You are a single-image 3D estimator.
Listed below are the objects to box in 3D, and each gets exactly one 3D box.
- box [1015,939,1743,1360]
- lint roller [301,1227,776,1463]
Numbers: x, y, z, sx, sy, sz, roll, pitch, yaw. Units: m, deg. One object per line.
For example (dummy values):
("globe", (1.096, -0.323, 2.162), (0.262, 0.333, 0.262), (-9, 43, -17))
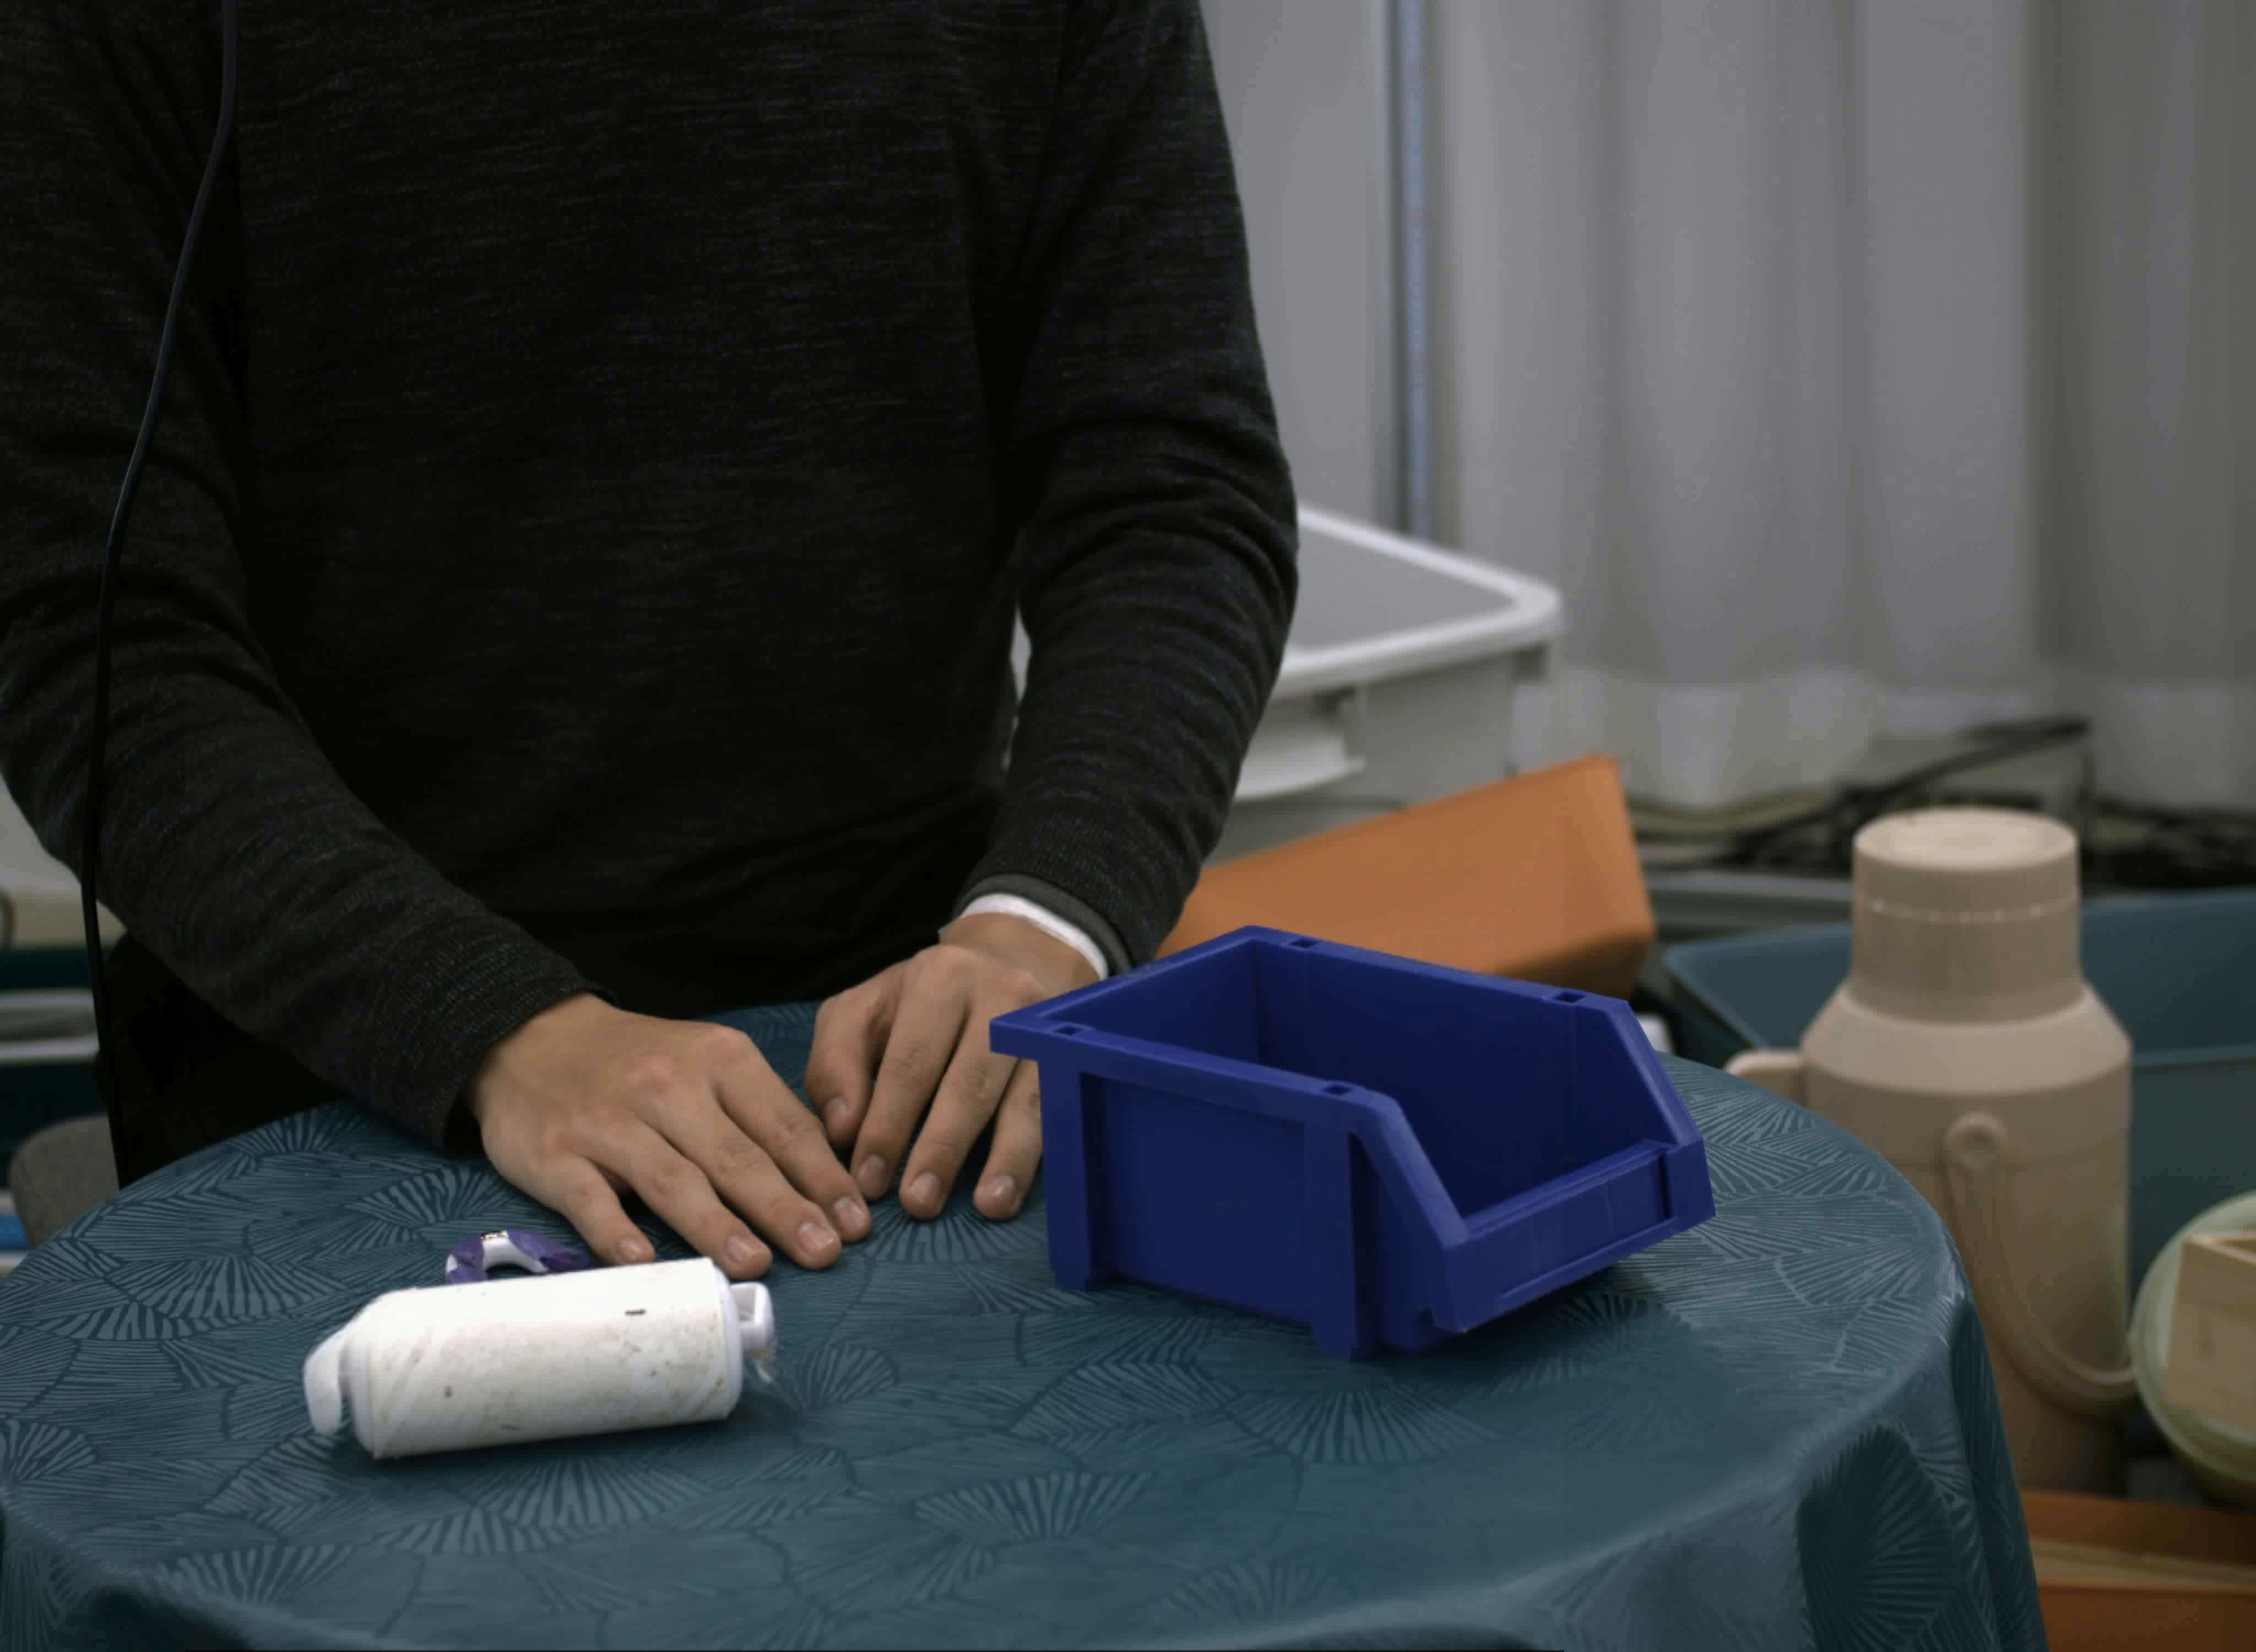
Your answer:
("box", (0.075, 0.095, 1.616), (0.180, 0.081, 0.124), (7, 17, 44))
("lint roller", (-0.175, 0.133, 1.590), (0.132, 0.050, 0.182), (-6, 17, -8))
